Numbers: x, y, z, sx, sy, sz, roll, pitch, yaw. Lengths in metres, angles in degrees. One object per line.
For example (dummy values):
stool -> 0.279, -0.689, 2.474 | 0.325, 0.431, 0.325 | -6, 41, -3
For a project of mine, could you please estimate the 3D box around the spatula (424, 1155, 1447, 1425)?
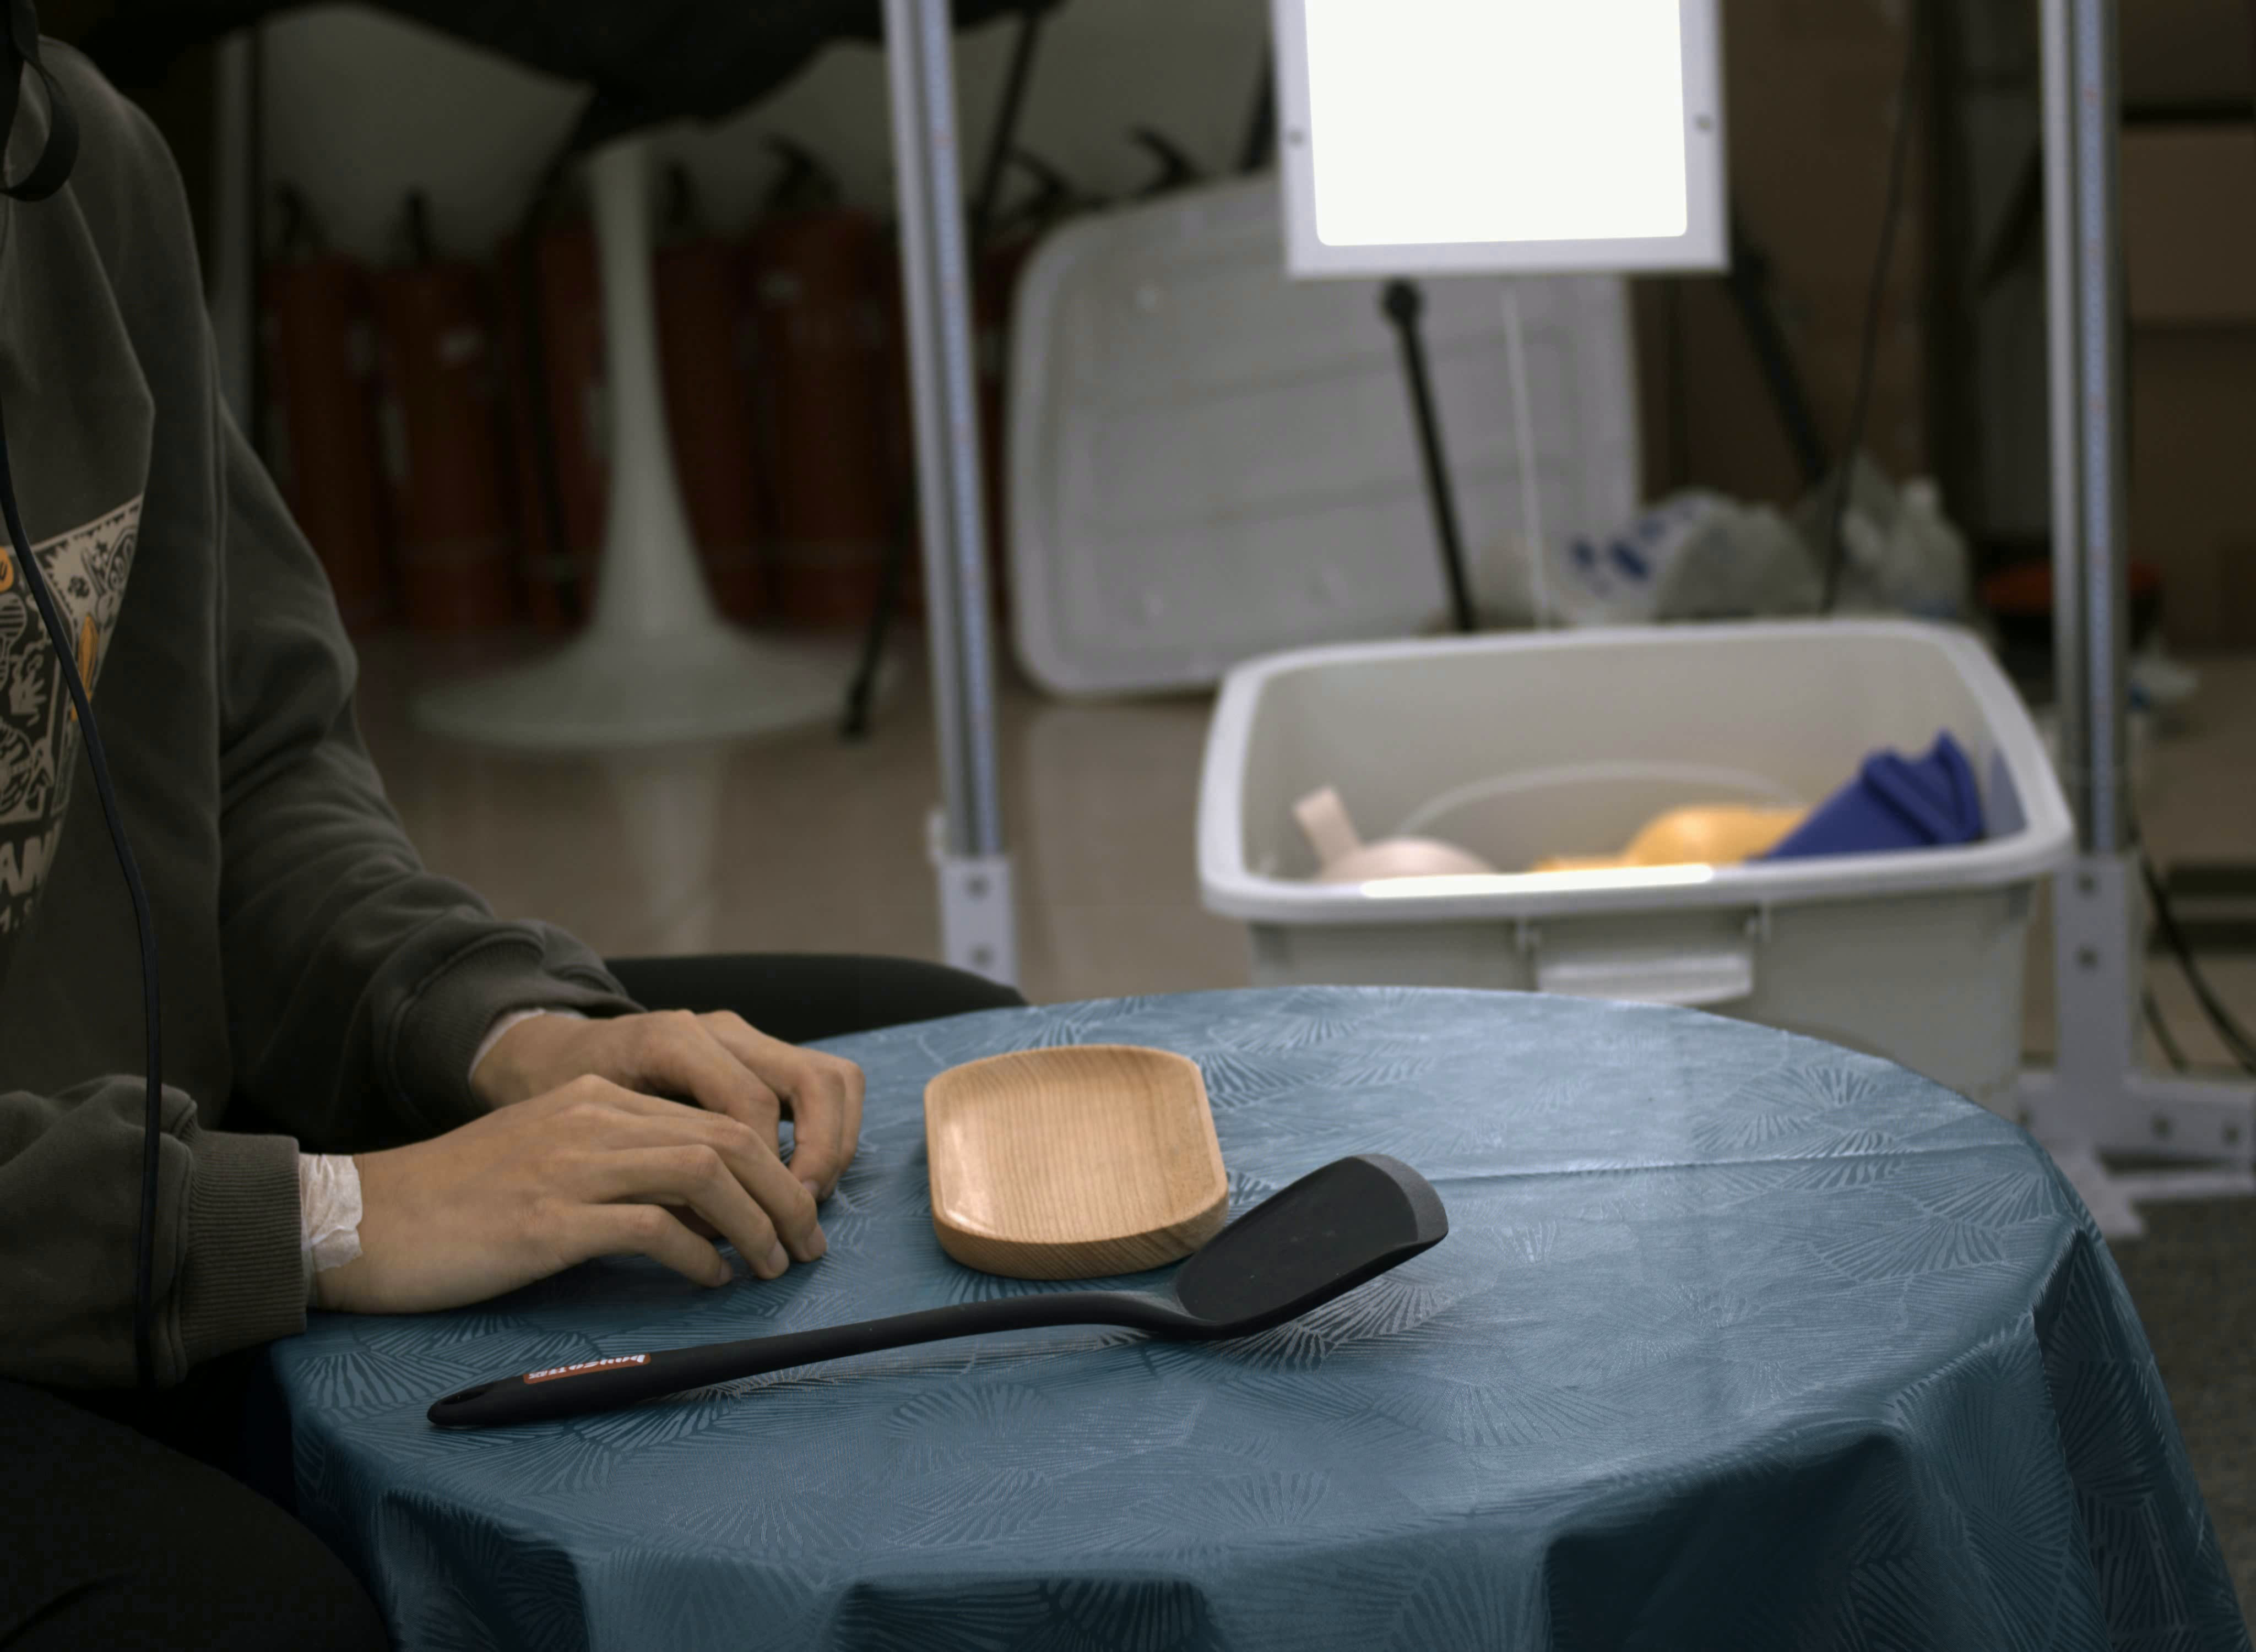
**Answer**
spatula -> -0.061, 0.152, 1.739 | 0.323, 0.040, 0.100 | -7, 13, -6

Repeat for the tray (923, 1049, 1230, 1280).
tray -> -0.019, 0.116, 1.914 | 0.101, 0.020, 0.231 | -6, 15, -1
